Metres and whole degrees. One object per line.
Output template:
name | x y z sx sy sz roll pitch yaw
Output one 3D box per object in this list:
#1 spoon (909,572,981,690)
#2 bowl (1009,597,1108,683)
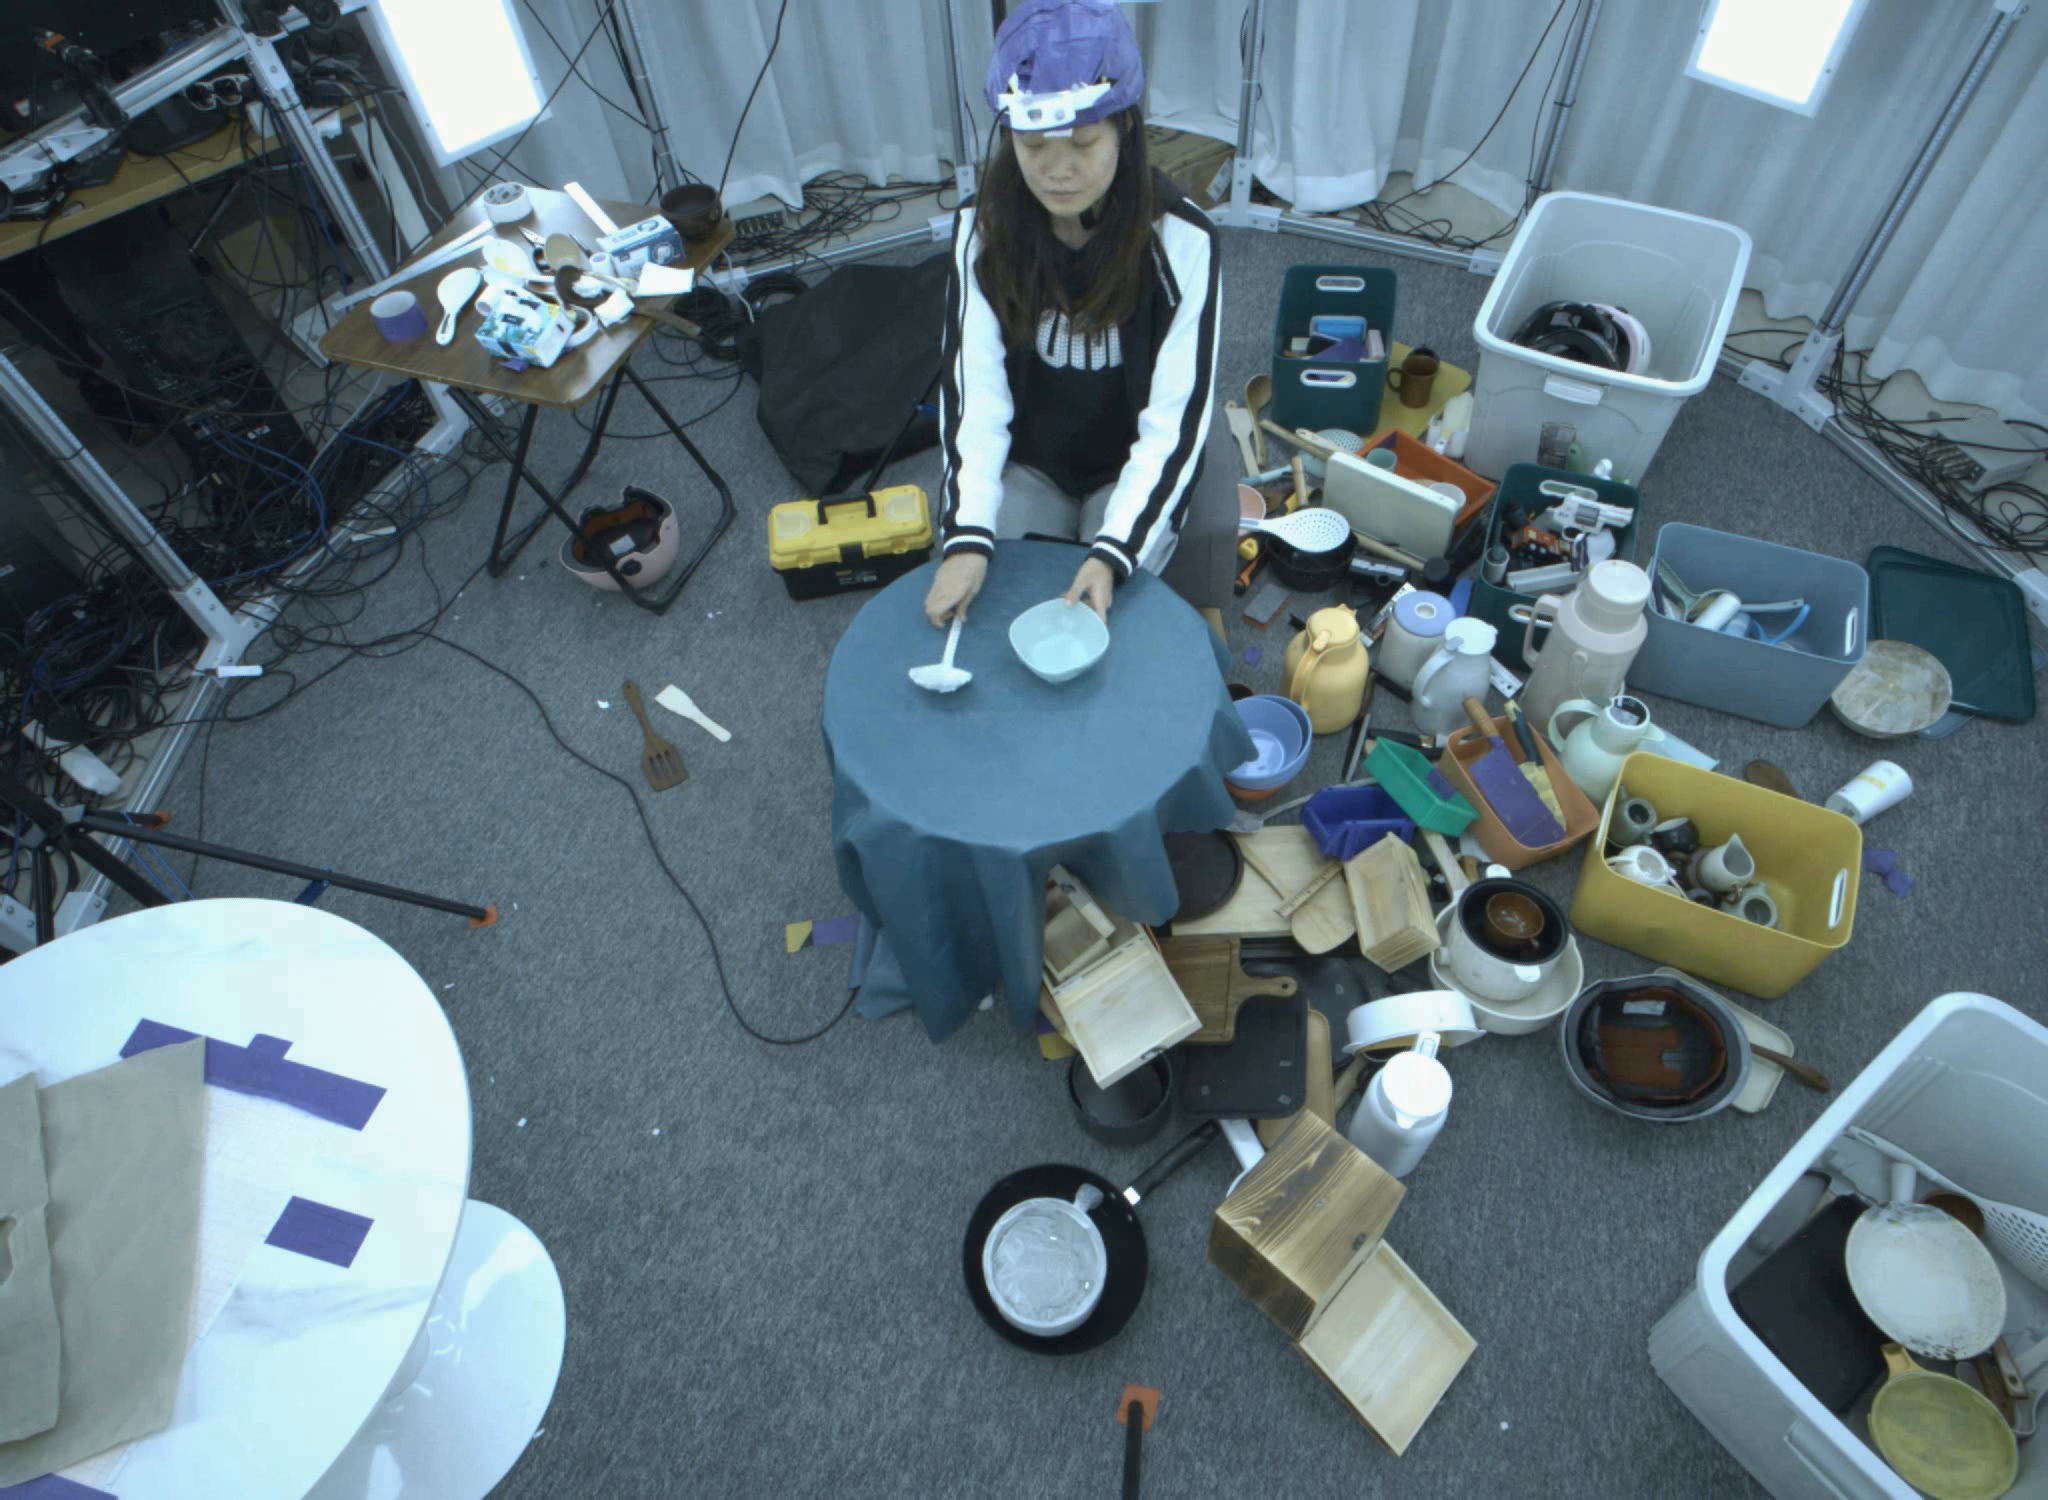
spoon | -0.101 -0.191 1.891 0.100 0.060 0.276 12 56 4
bowl | 0.053 -0.157 1.864 0.151 0.059 0.150 -1 56 2
